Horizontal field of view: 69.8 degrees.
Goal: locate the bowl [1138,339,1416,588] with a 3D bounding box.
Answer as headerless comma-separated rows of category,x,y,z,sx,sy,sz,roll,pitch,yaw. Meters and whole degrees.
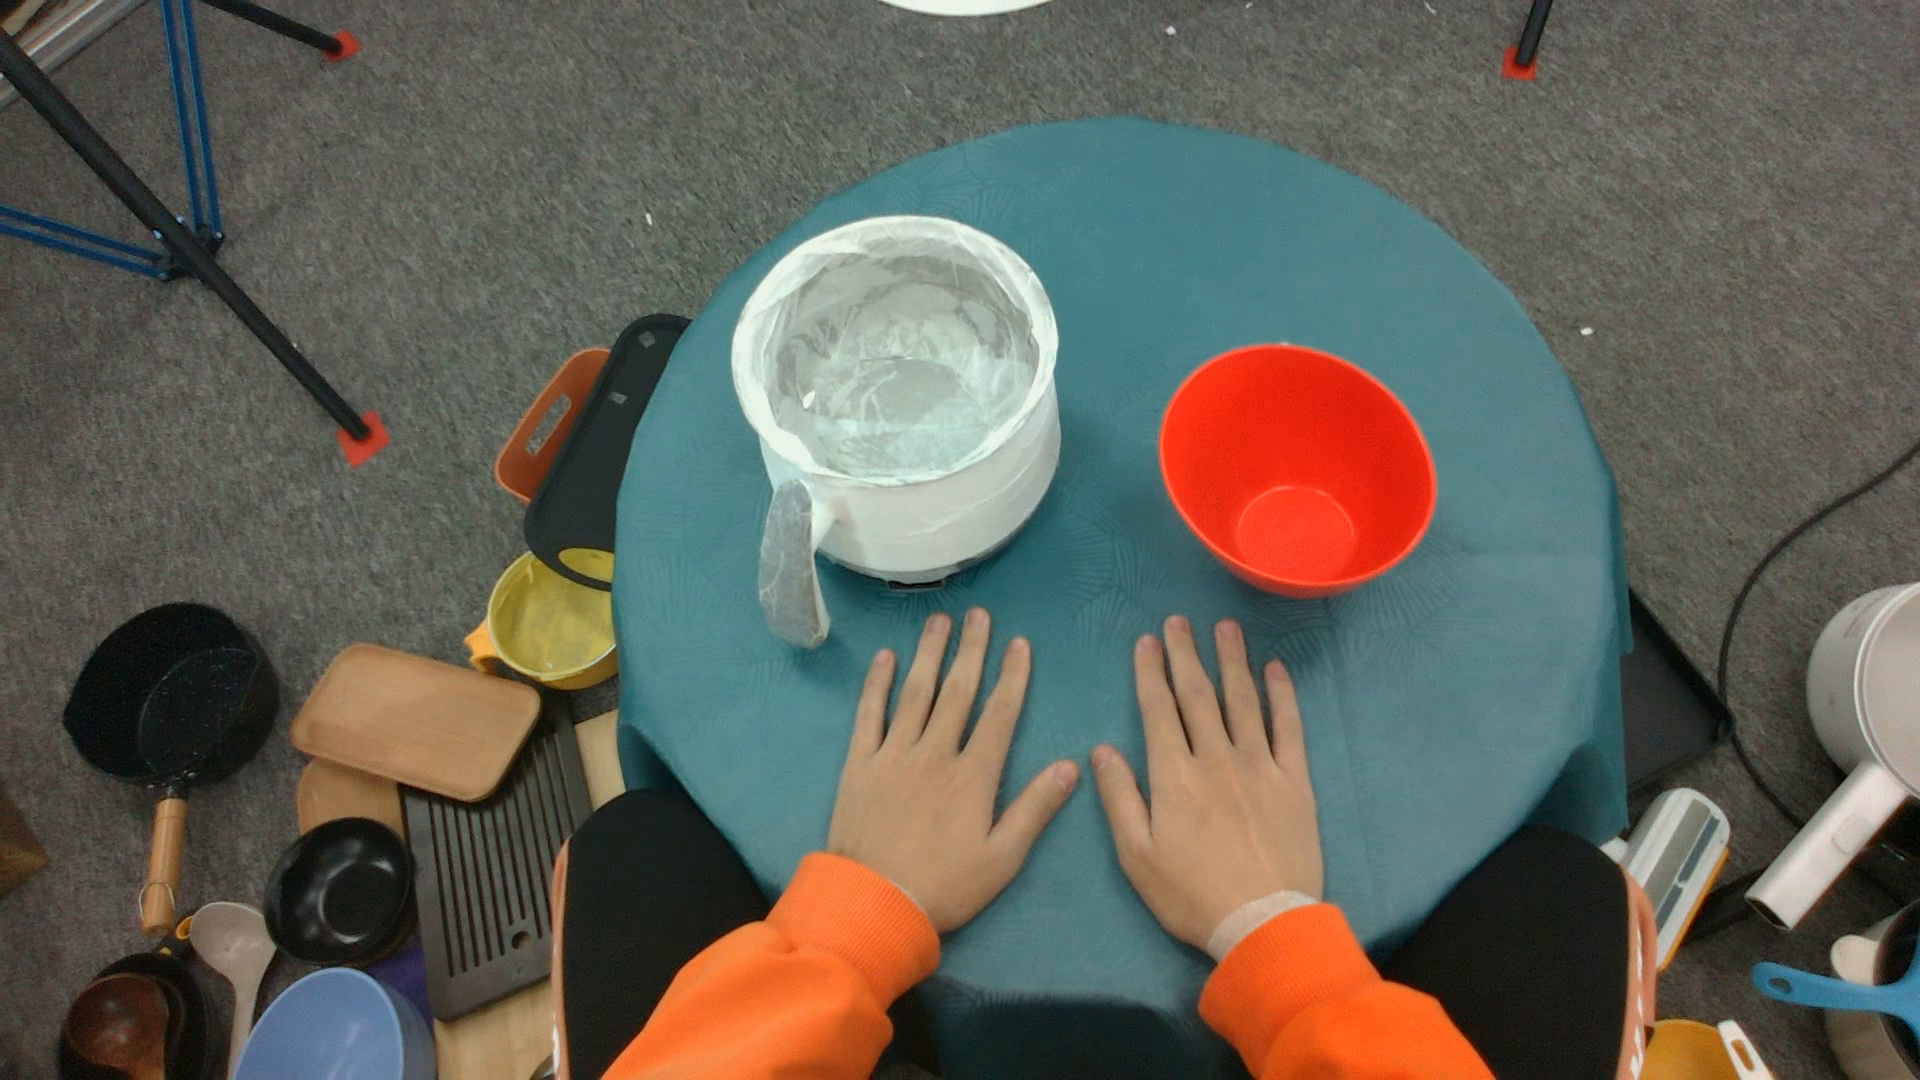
bowl,0.178,-0.030,0.780,0.148,0.104,0.148,-4,65,9

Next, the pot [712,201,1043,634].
pot,-0.054,-0.062,0.784,0.178,0.136,0.234,22,66,16
